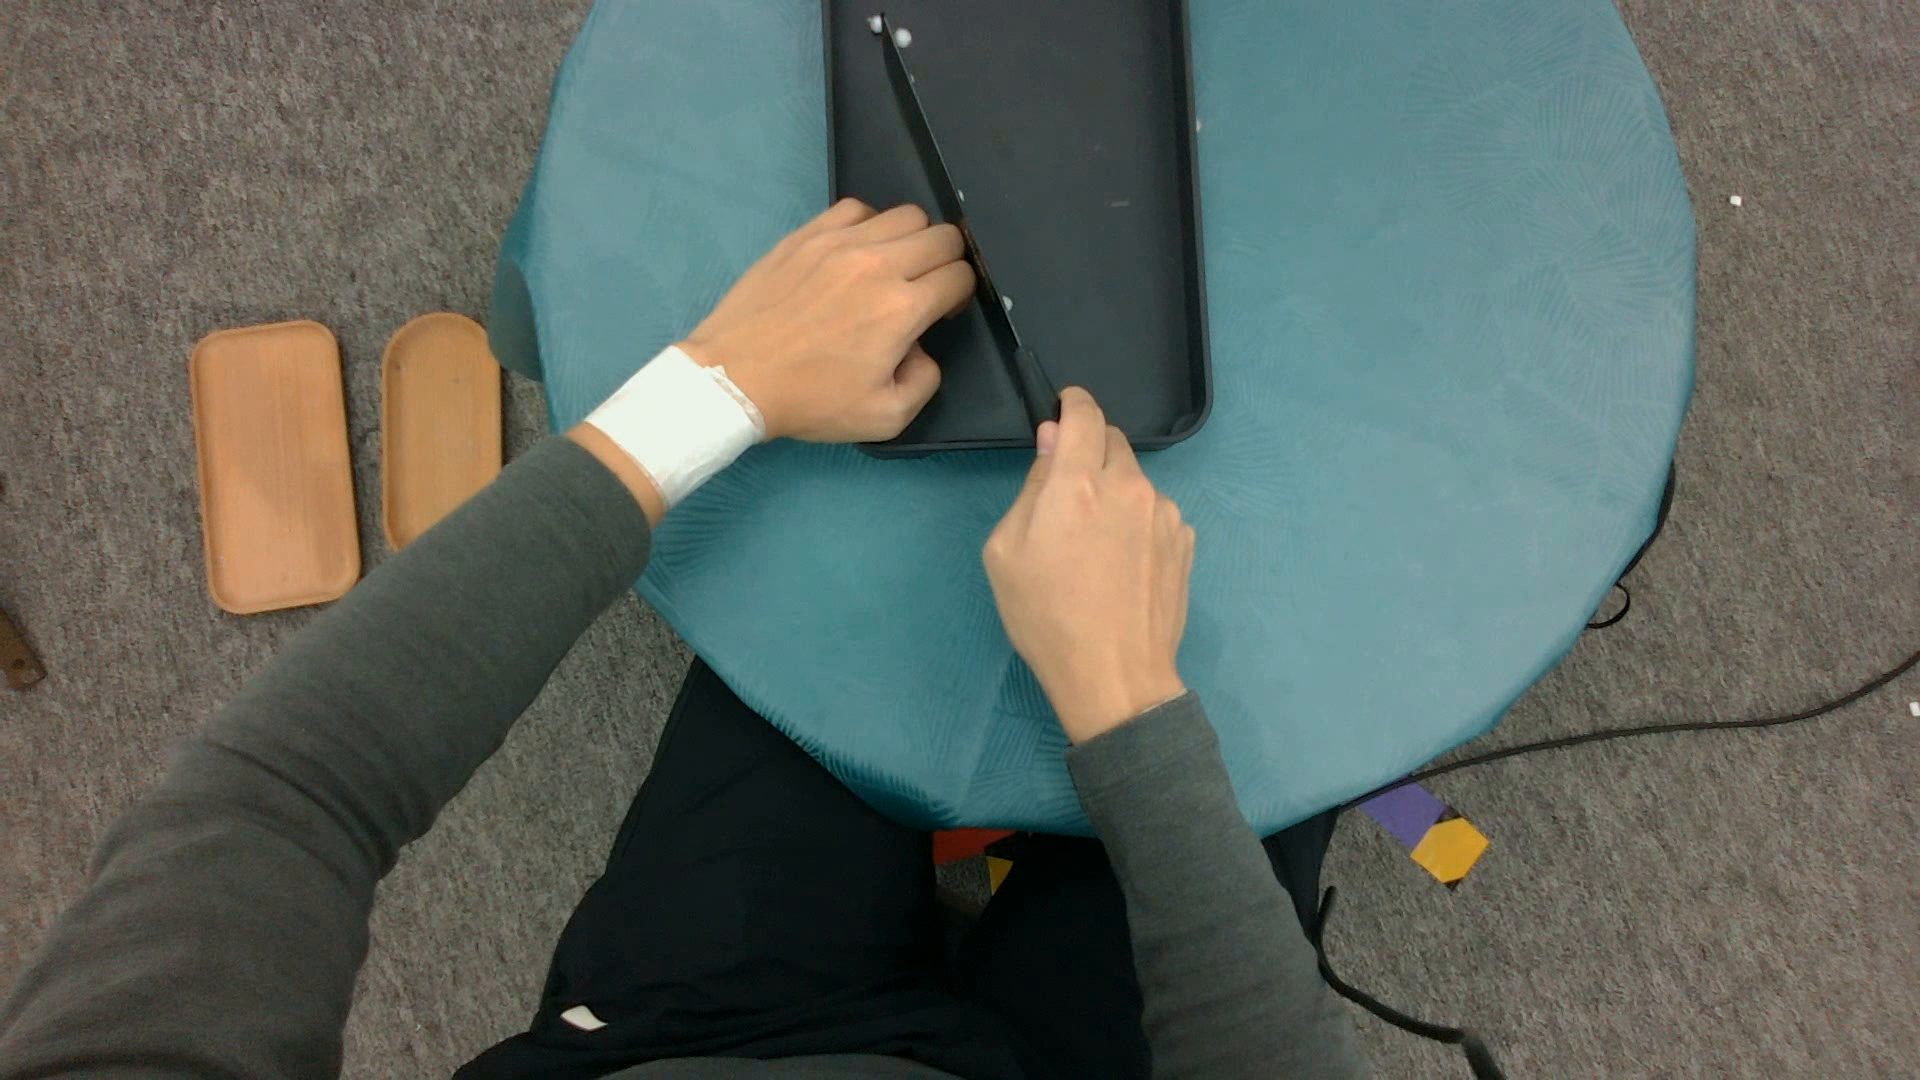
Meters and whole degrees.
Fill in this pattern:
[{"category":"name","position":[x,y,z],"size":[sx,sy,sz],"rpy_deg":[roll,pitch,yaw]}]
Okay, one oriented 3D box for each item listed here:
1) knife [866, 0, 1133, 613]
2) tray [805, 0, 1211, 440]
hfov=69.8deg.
[{"category":"knife","position":[0.013,-0.108,0.637],"size":[0.021,0.081,0.302],"rpy_deg":[-22,81,-4]},{"category":"tray","position":[0.018,-0.210,0.690],"size":[0.184,0.037,0.318],"rpy_deg":[-4,82,-4]}]
